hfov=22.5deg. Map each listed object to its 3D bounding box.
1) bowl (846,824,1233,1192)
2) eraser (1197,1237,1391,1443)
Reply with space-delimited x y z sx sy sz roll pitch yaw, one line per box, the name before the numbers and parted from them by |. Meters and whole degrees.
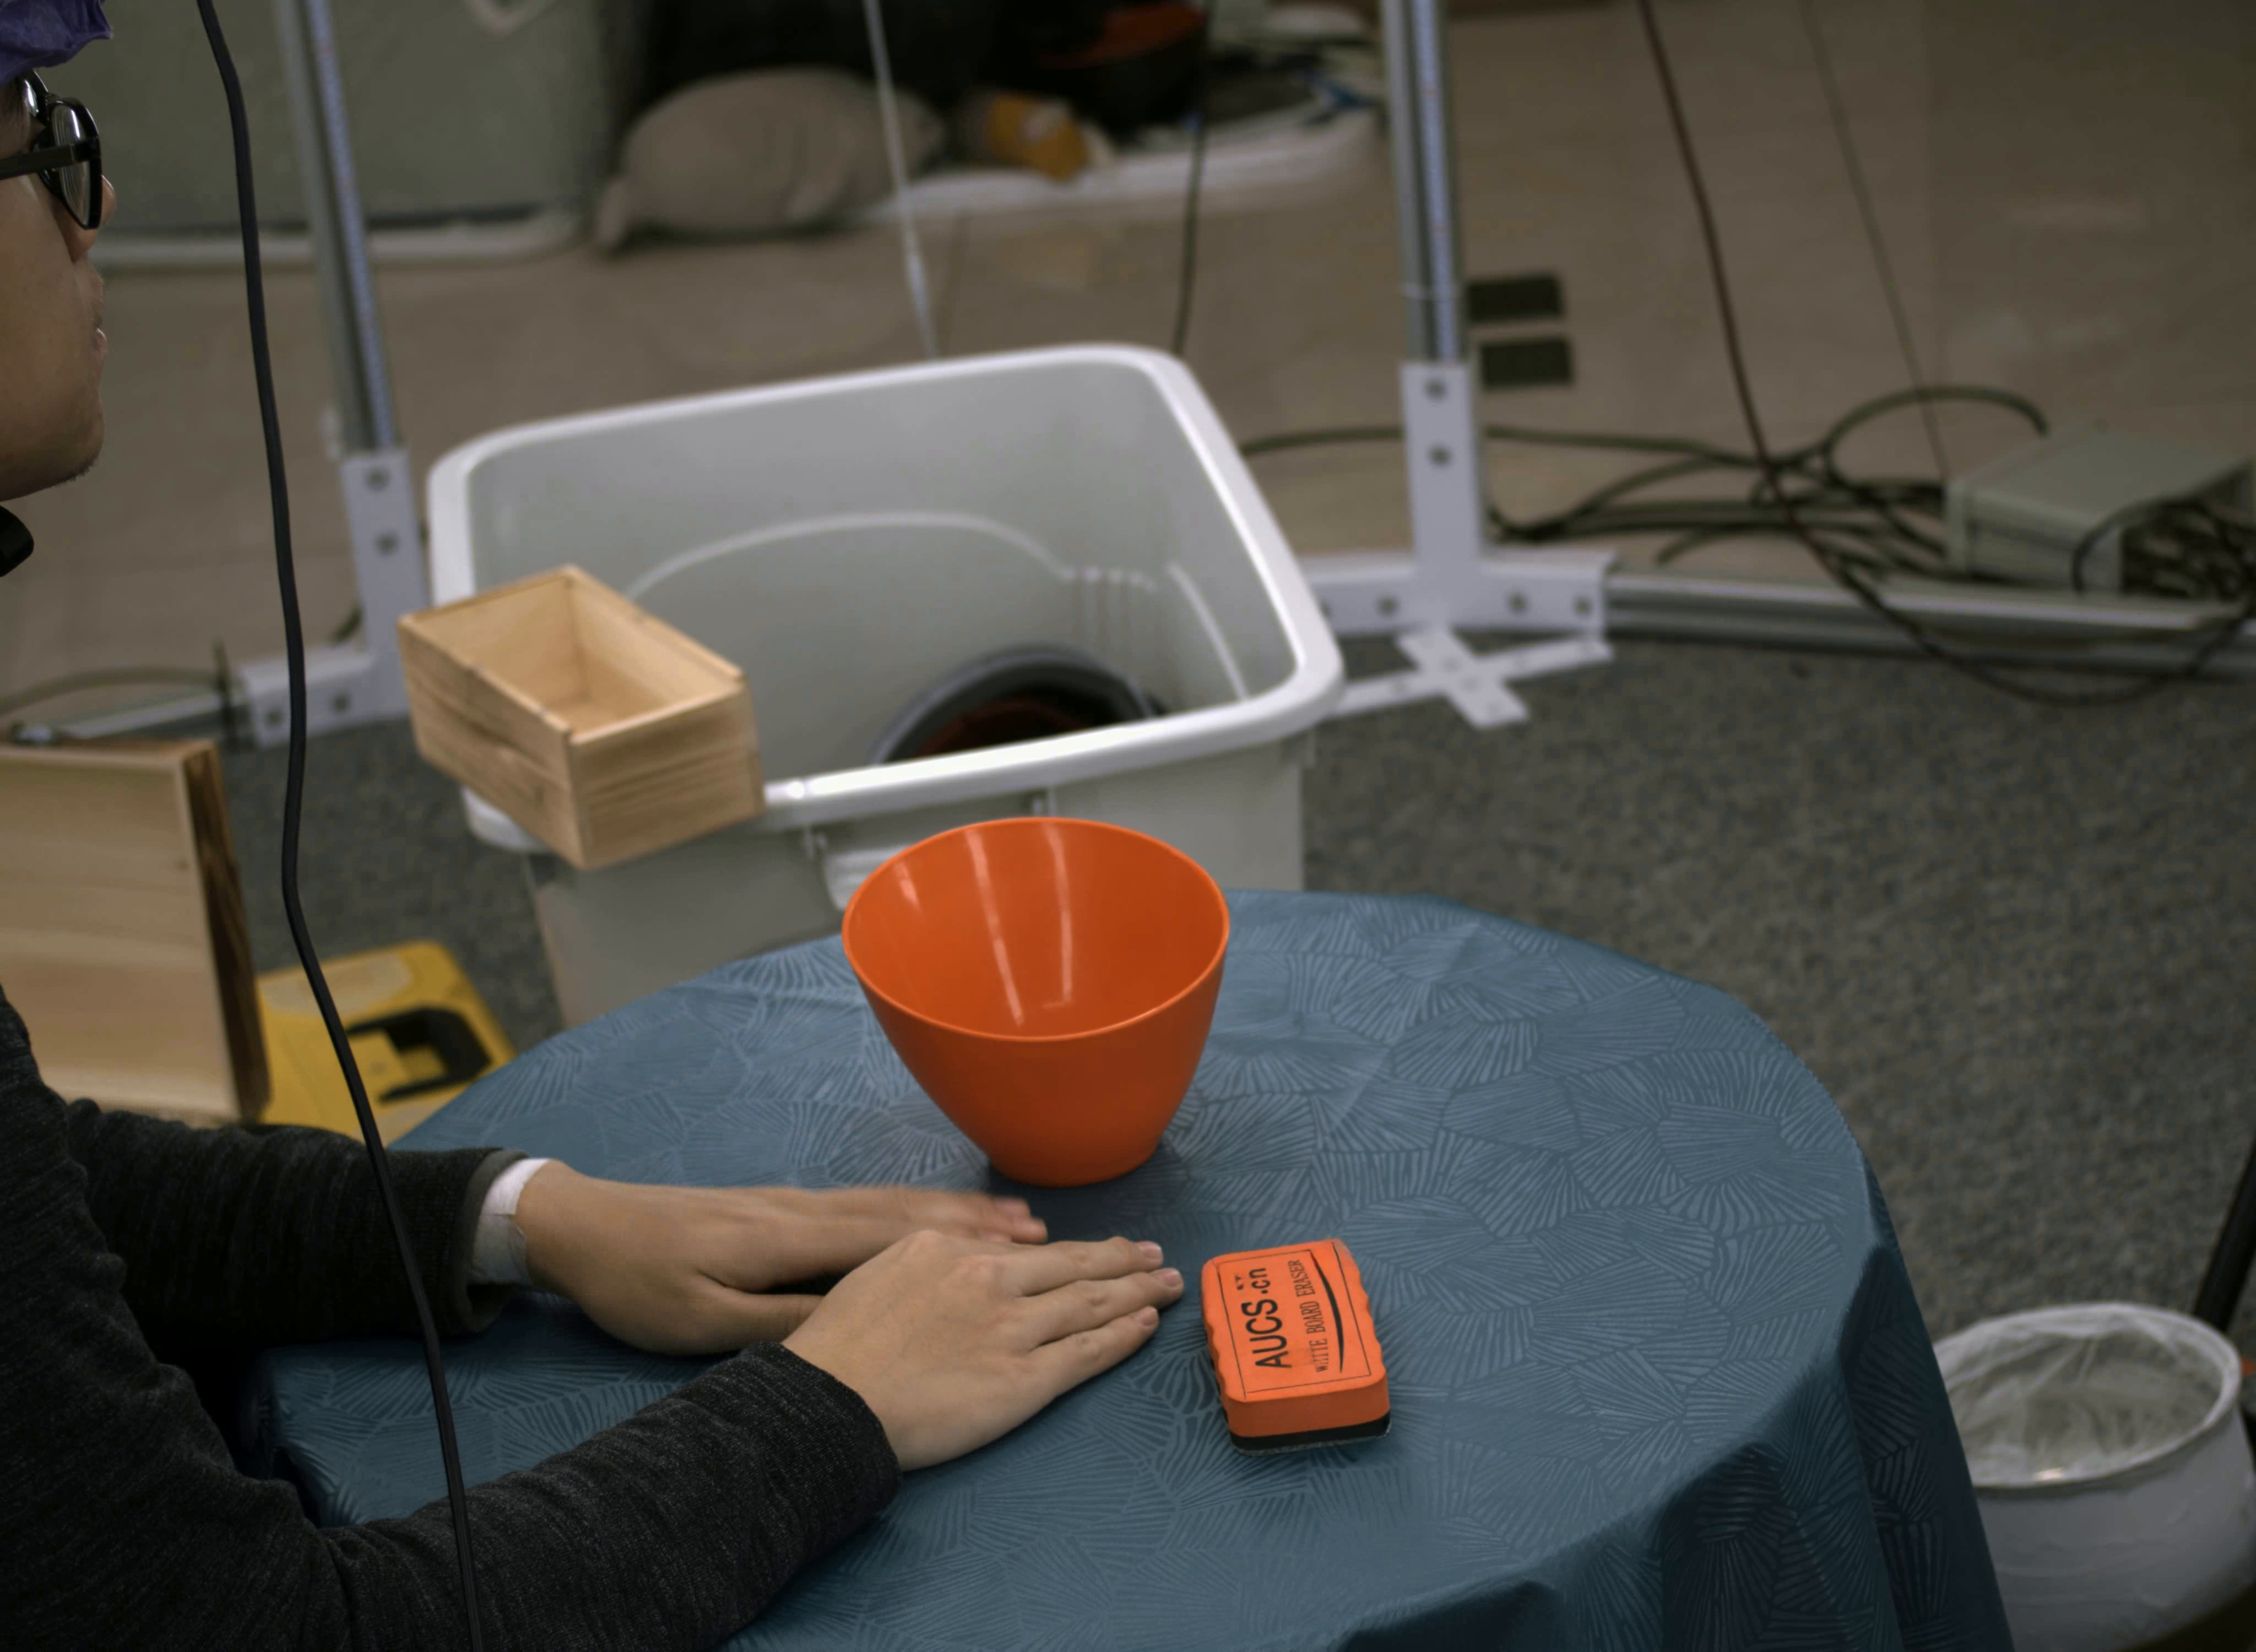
bowl | -0.030 0.075 2.172 0.148 0.106 0.146 -5 25 2
eraser | 0.058 0.181 2.008 0.059 0.023 0.106 -6 23 -4
